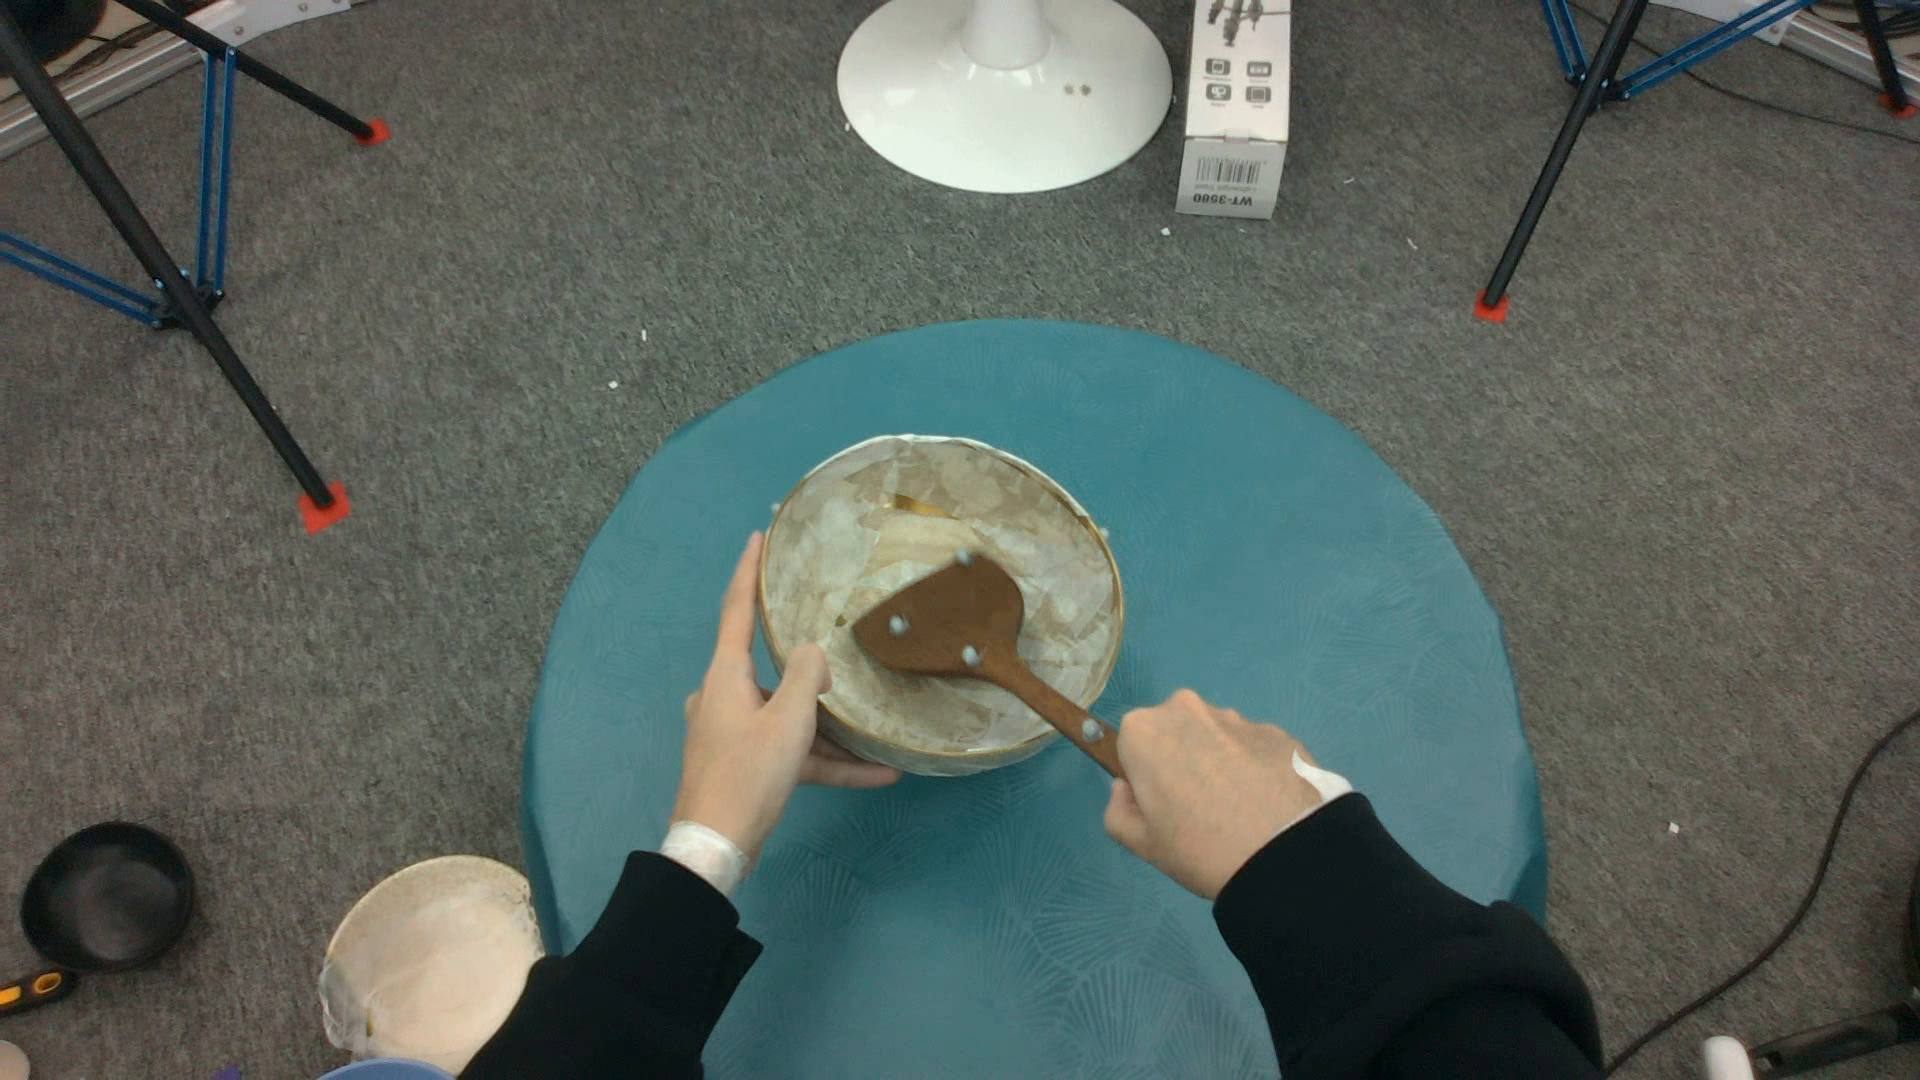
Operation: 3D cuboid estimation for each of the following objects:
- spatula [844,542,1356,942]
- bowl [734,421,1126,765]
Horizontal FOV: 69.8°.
[{"bbox_3d":[0.053,0.081,0.661,0.096,0.016,0.386,-30,29,-16],"label":"spatula"},{"bbox_3d":[-0.023,0.043,0.762,0.215,0.094,0.215,8,55,-12],"label":"bowl"}]
